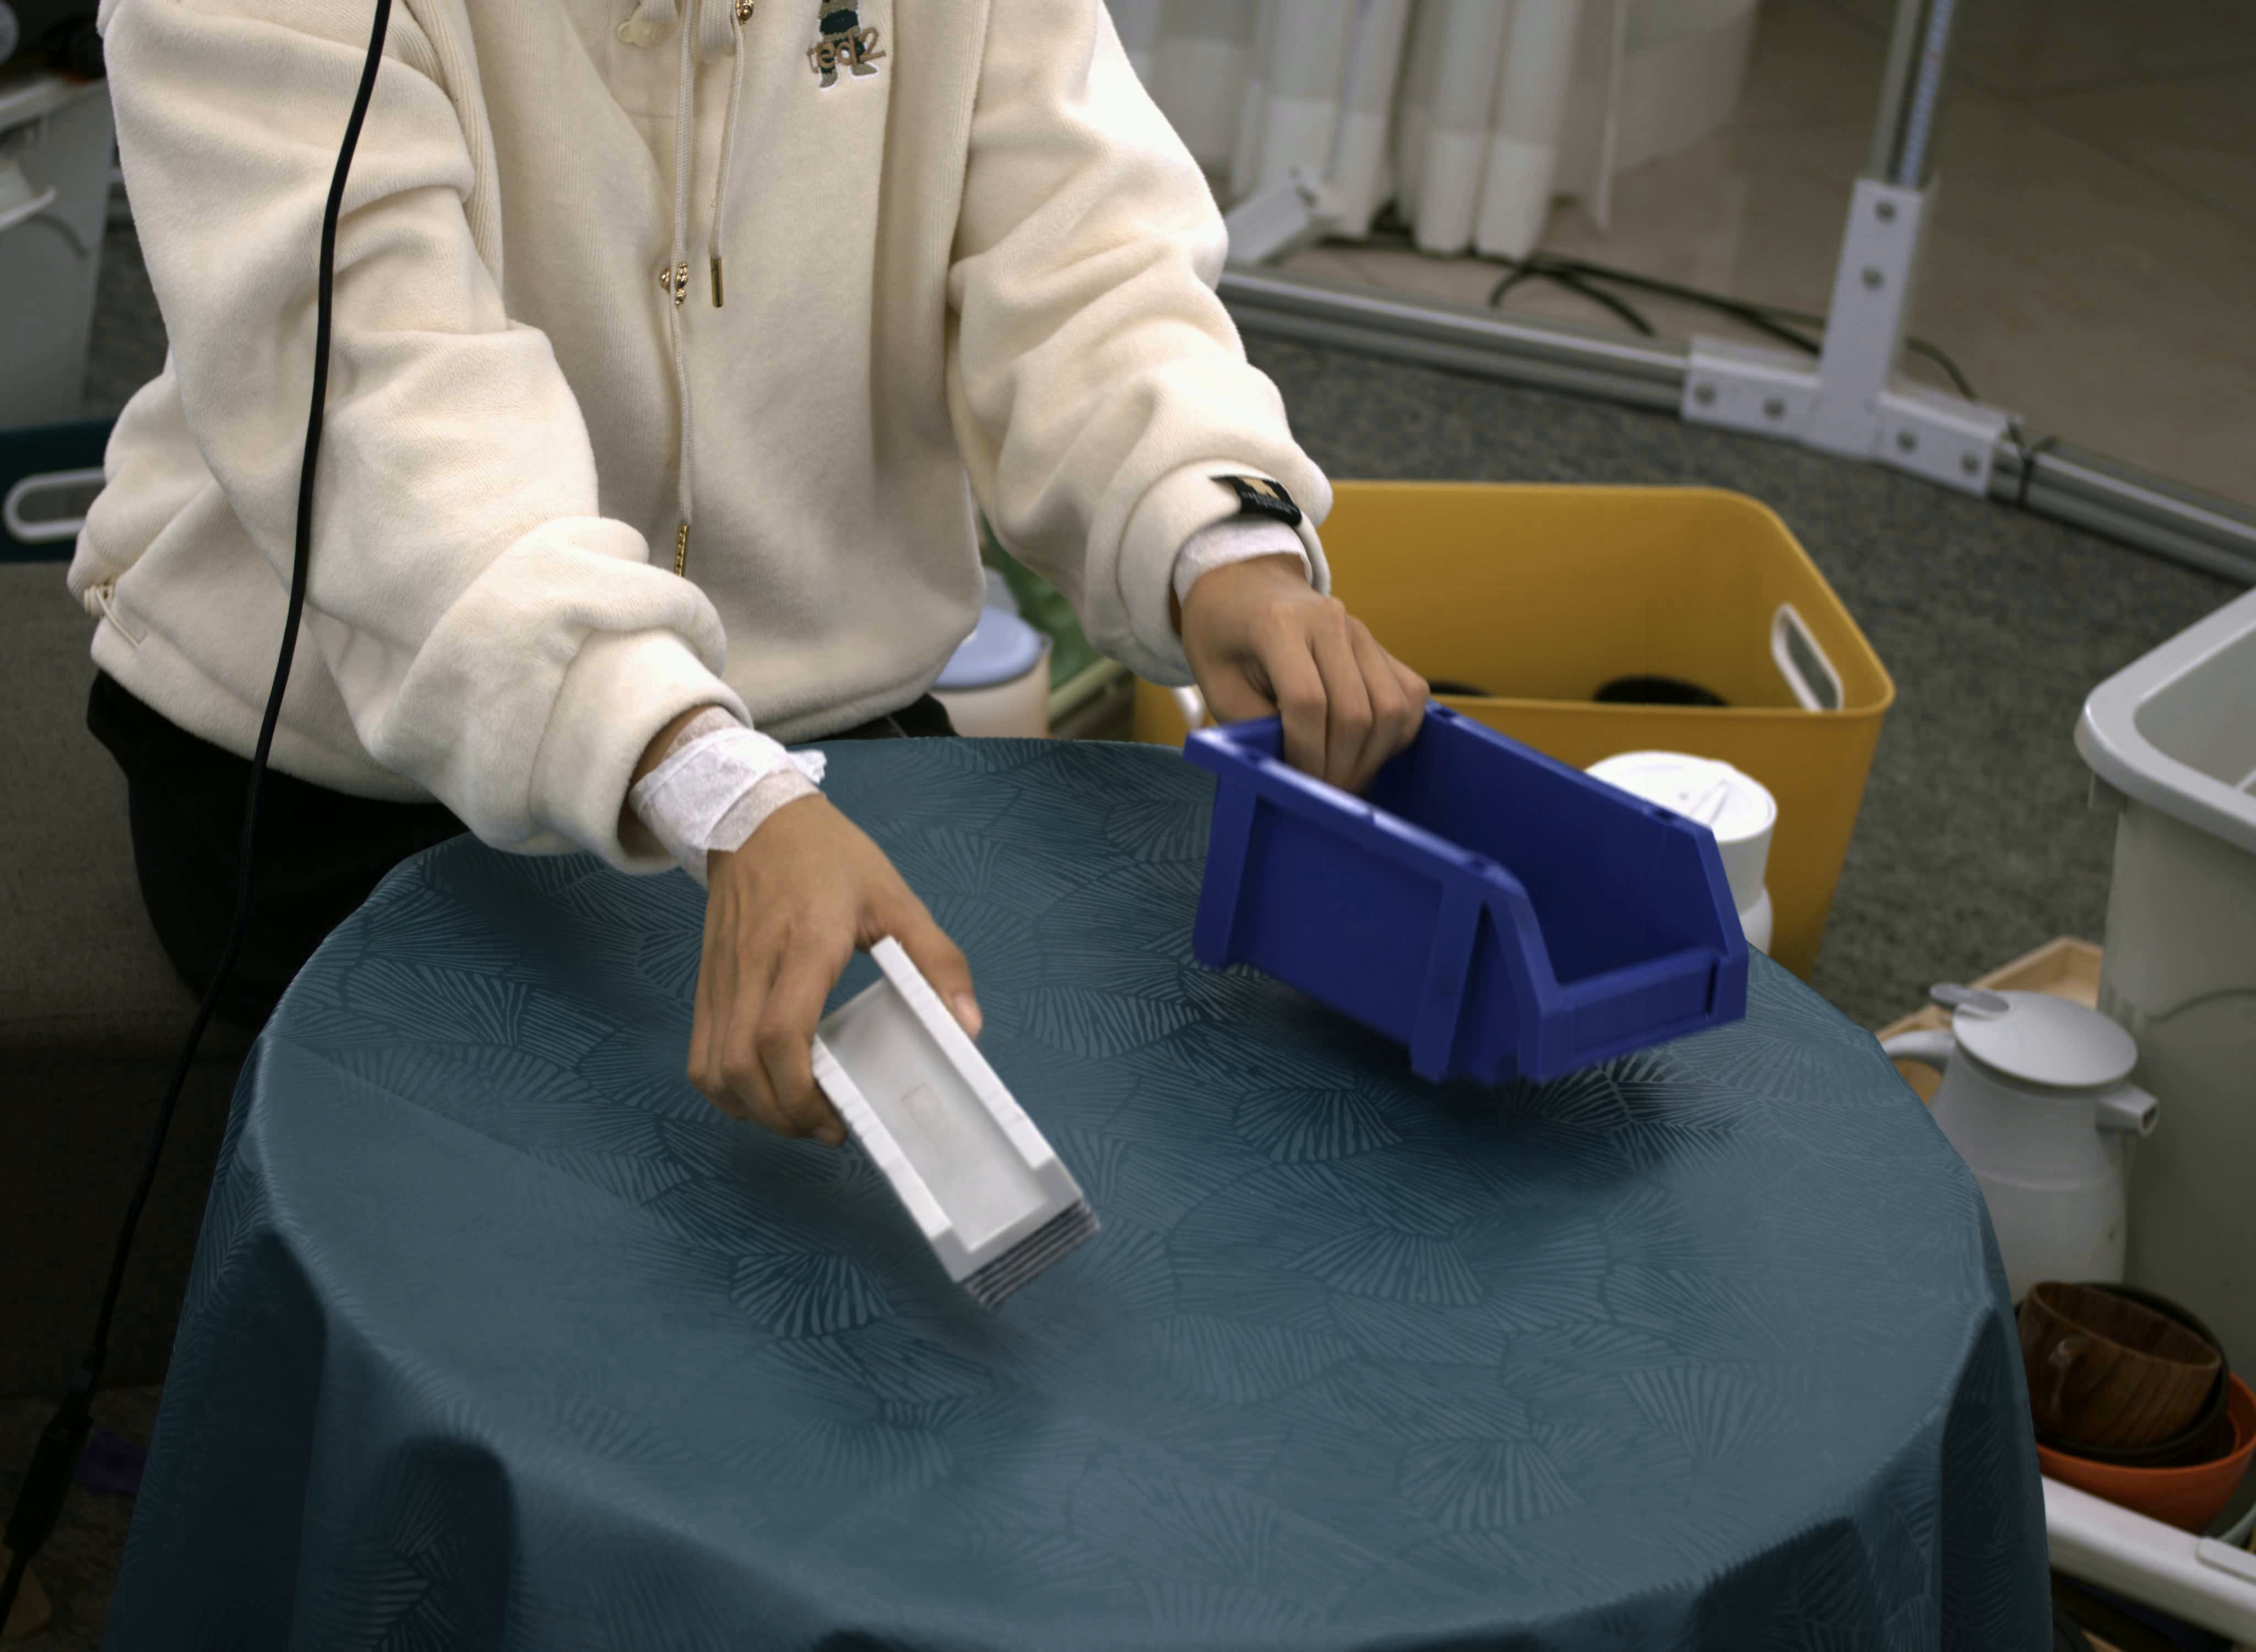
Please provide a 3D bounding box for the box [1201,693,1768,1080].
[{"bbox_3d":[0.126,0.025,1.888,0.181,0.082,0.123,25,24,39],"label":"box"}]

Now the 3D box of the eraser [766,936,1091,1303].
[{"bbox_3d":[-0.064,0.095,1.725,0.050,0.046,0.135,-39,41,-4],"label":"eraser"}]
